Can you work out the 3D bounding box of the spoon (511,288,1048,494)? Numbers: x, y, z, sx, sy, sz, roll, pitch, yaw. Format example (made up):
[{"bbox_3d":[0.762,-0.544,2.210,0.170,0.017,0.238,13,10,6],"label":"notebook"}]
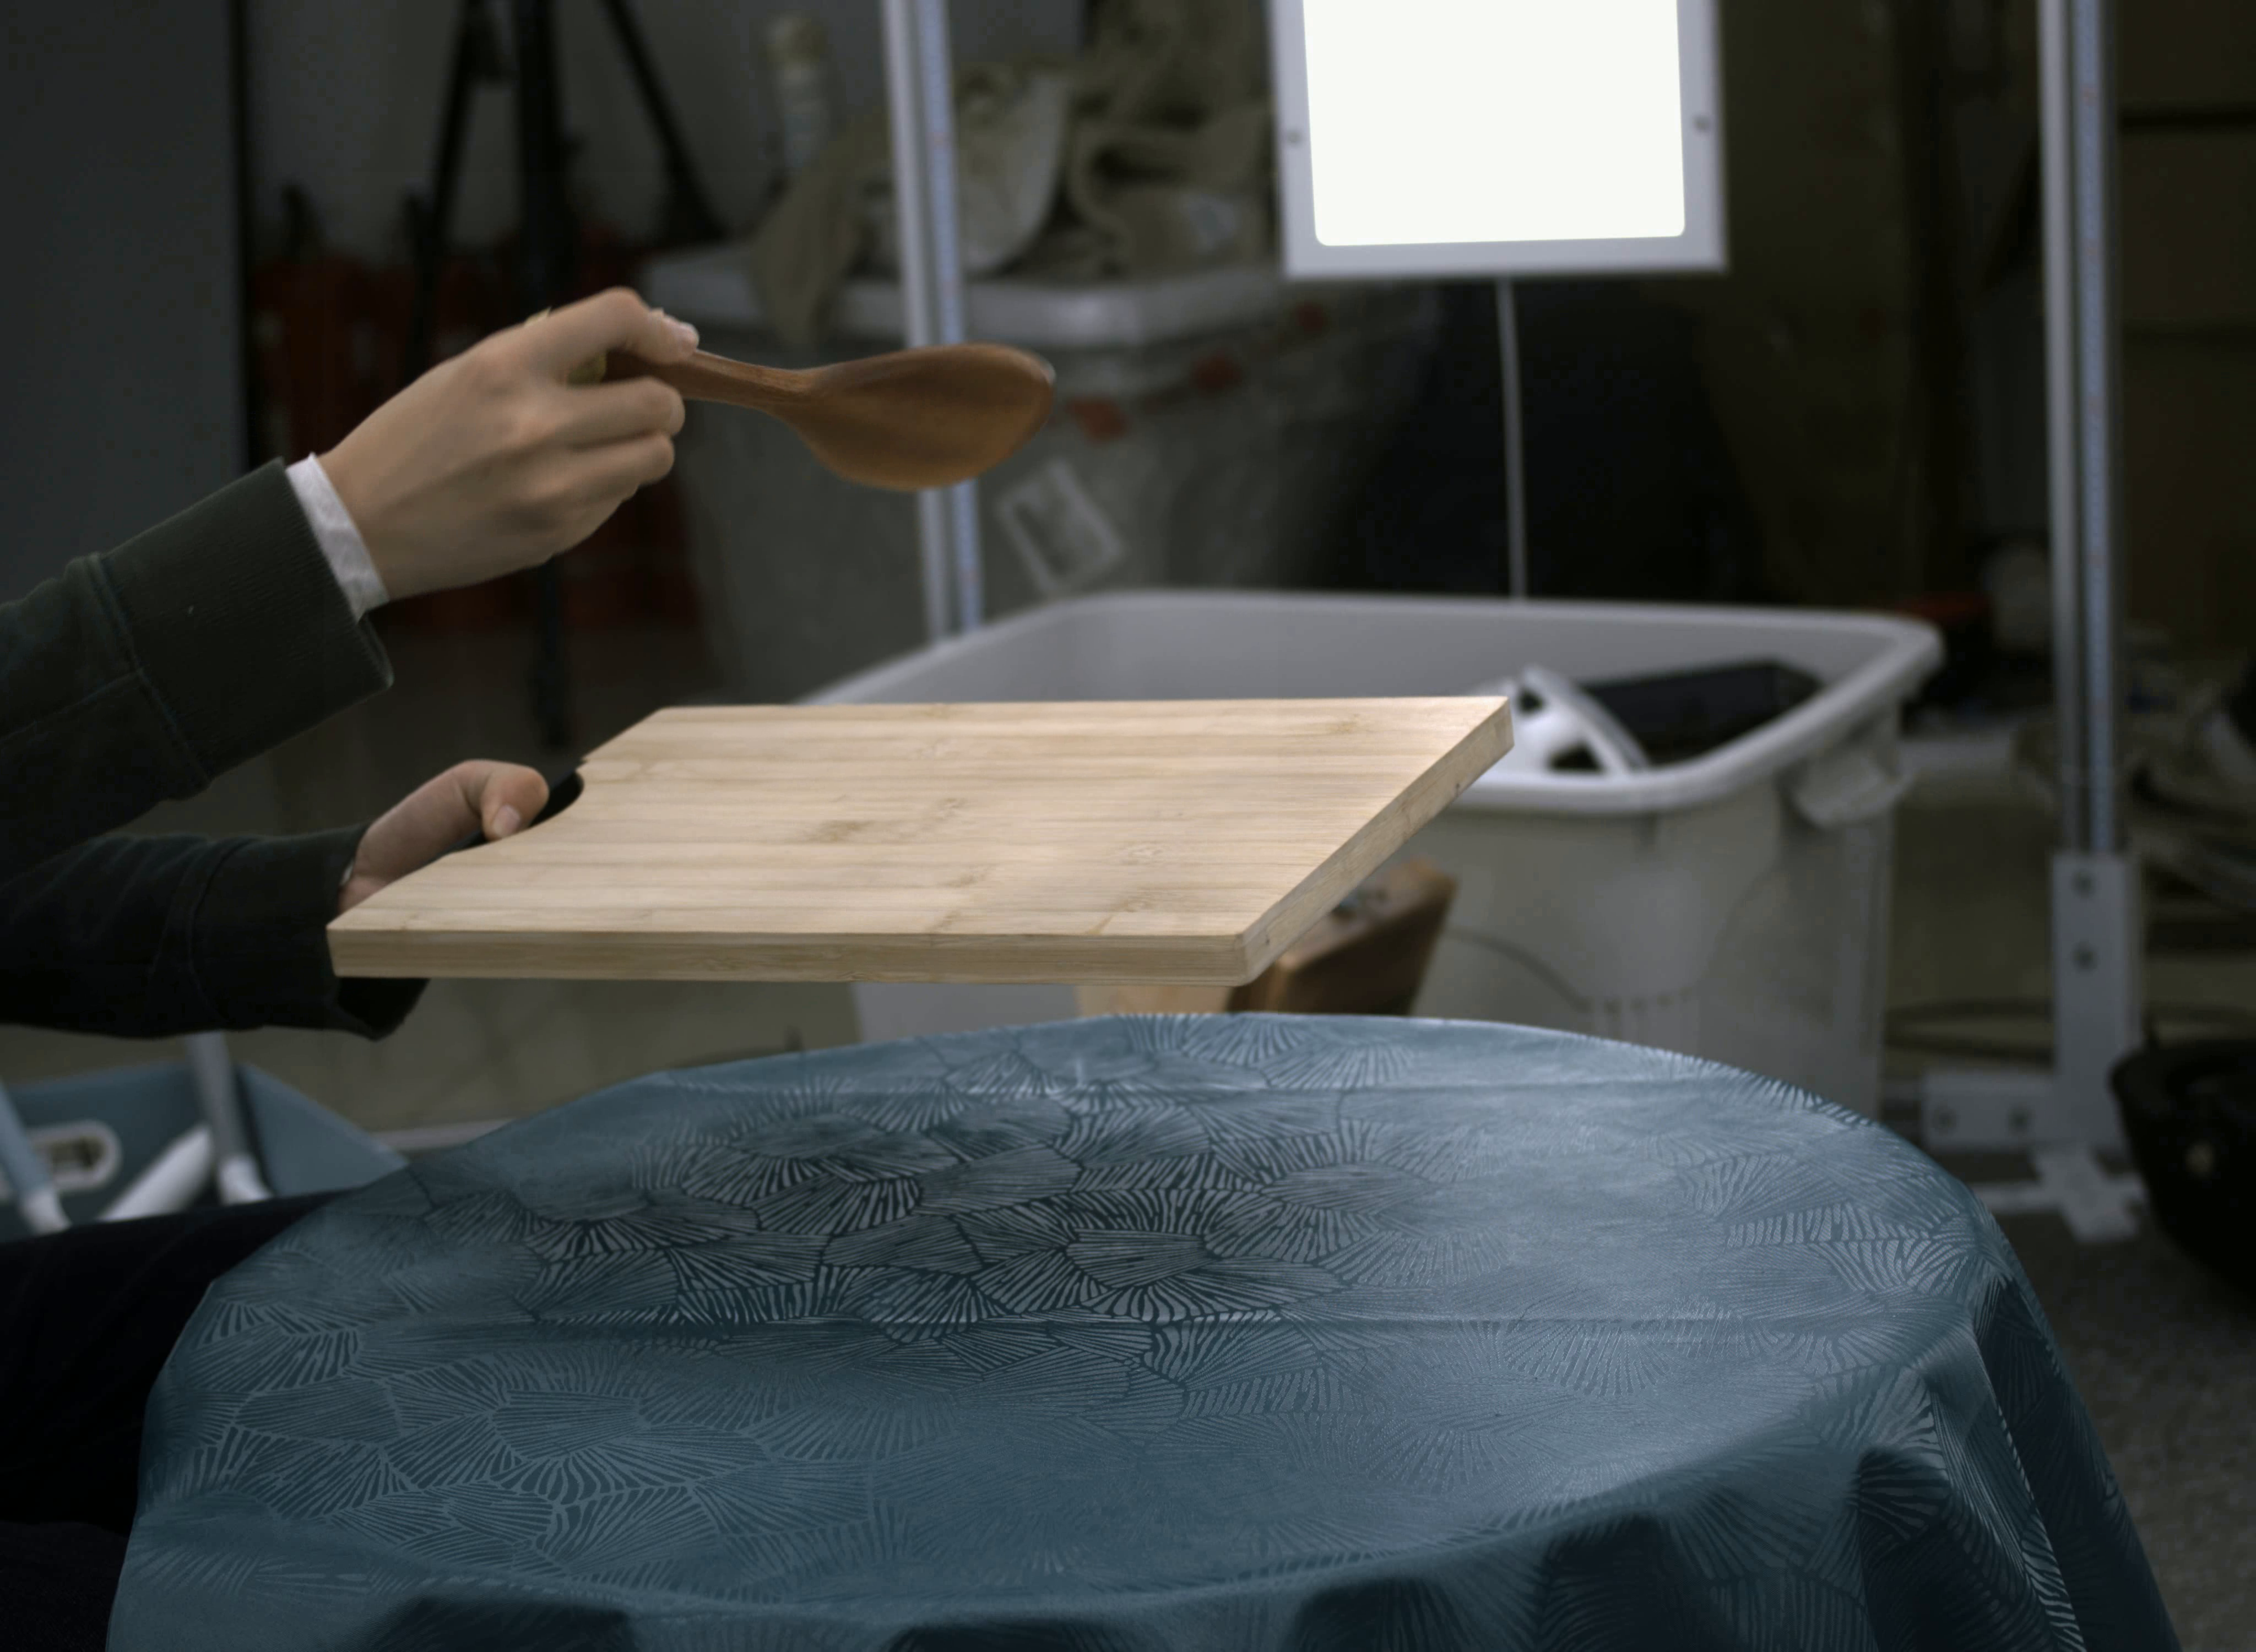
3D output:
[{"bbox_3d":[-0.109,-0.136,1.733,0.210,0.017,0.077,12,-35,-44],"label":"spoon"}]

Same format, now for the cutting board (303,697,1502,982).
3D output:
[{"bbox_3d":[-0.074,0.003,1.874,0.355,0.023,0.245,-1,18,27],"label":"cutting board"}]
